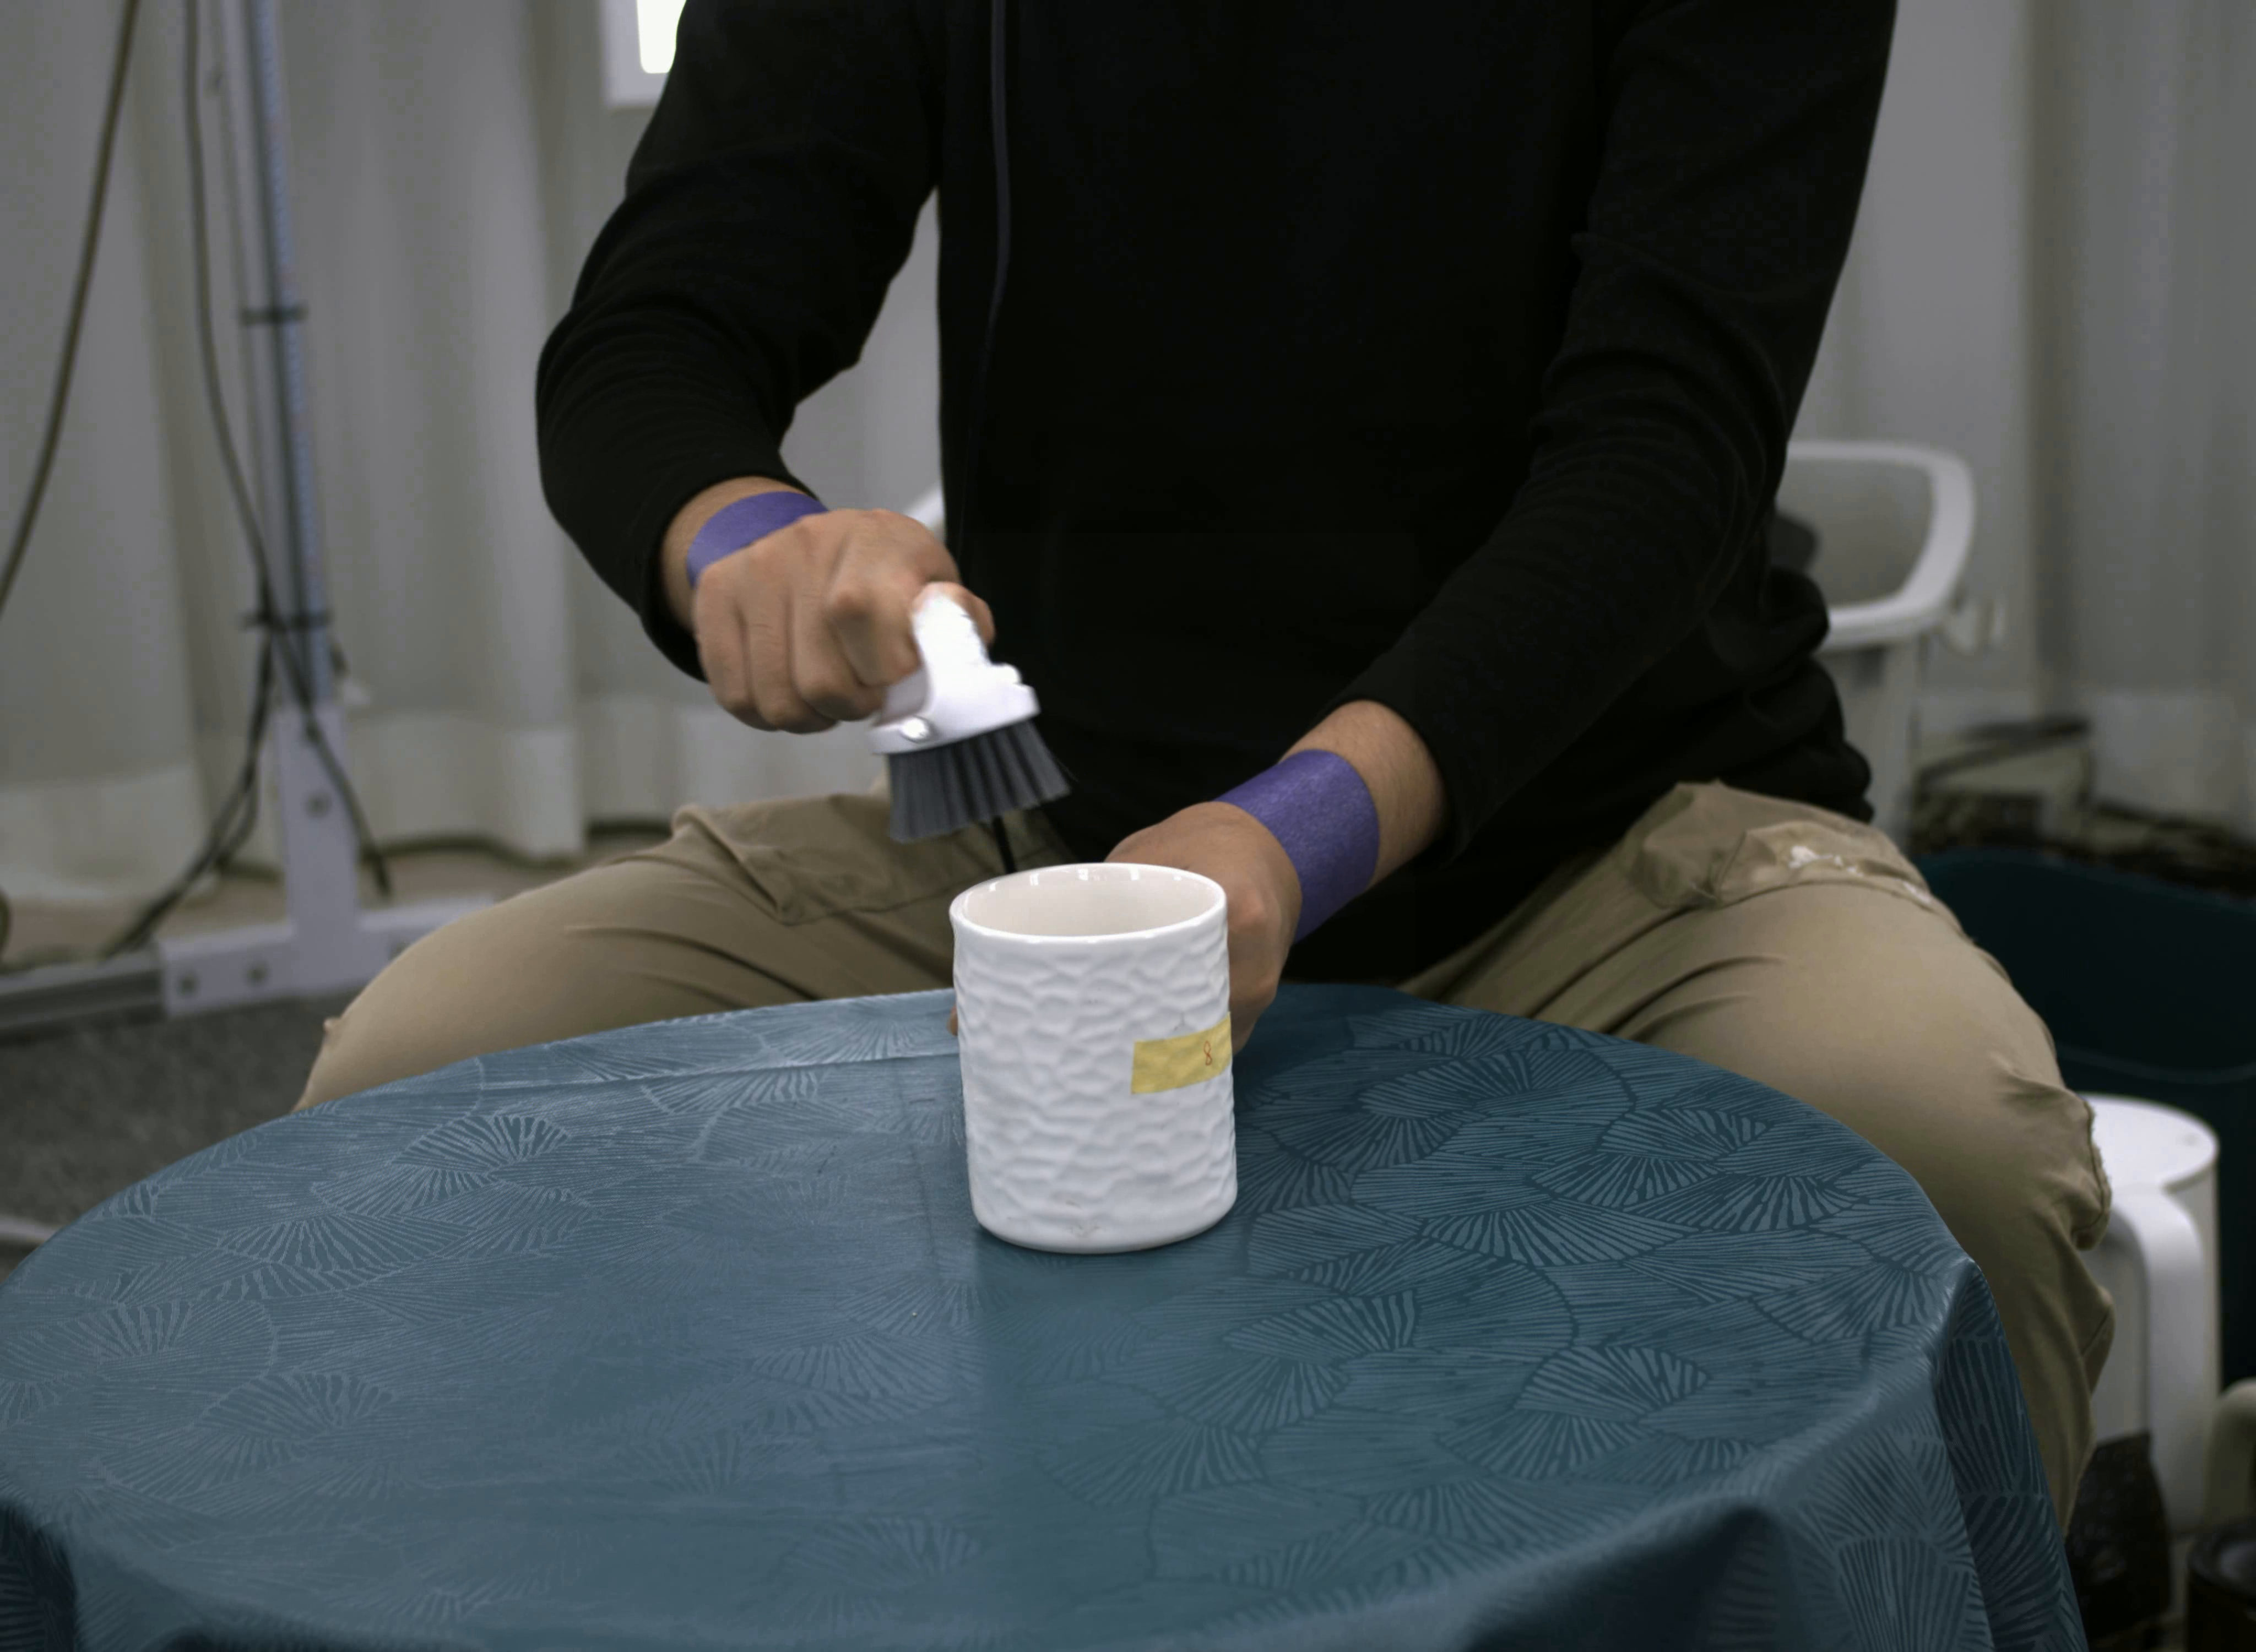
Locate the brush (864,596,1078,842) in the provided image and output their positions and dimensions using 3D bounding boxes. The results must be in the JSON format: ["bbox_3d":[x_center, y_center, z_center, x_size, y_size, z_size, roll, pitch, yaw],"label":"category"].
[{"bbox_3d":[-0.055,-0.036,1.726,0.050,0.072,0.099,-15,4,-18],"label":"brush"}]

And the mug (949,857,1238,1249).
[{"bbox_3d":[-0.017,0.067,1.698,0.084,0.101,0.119,-10,16,-26],"label":"mug"}]
